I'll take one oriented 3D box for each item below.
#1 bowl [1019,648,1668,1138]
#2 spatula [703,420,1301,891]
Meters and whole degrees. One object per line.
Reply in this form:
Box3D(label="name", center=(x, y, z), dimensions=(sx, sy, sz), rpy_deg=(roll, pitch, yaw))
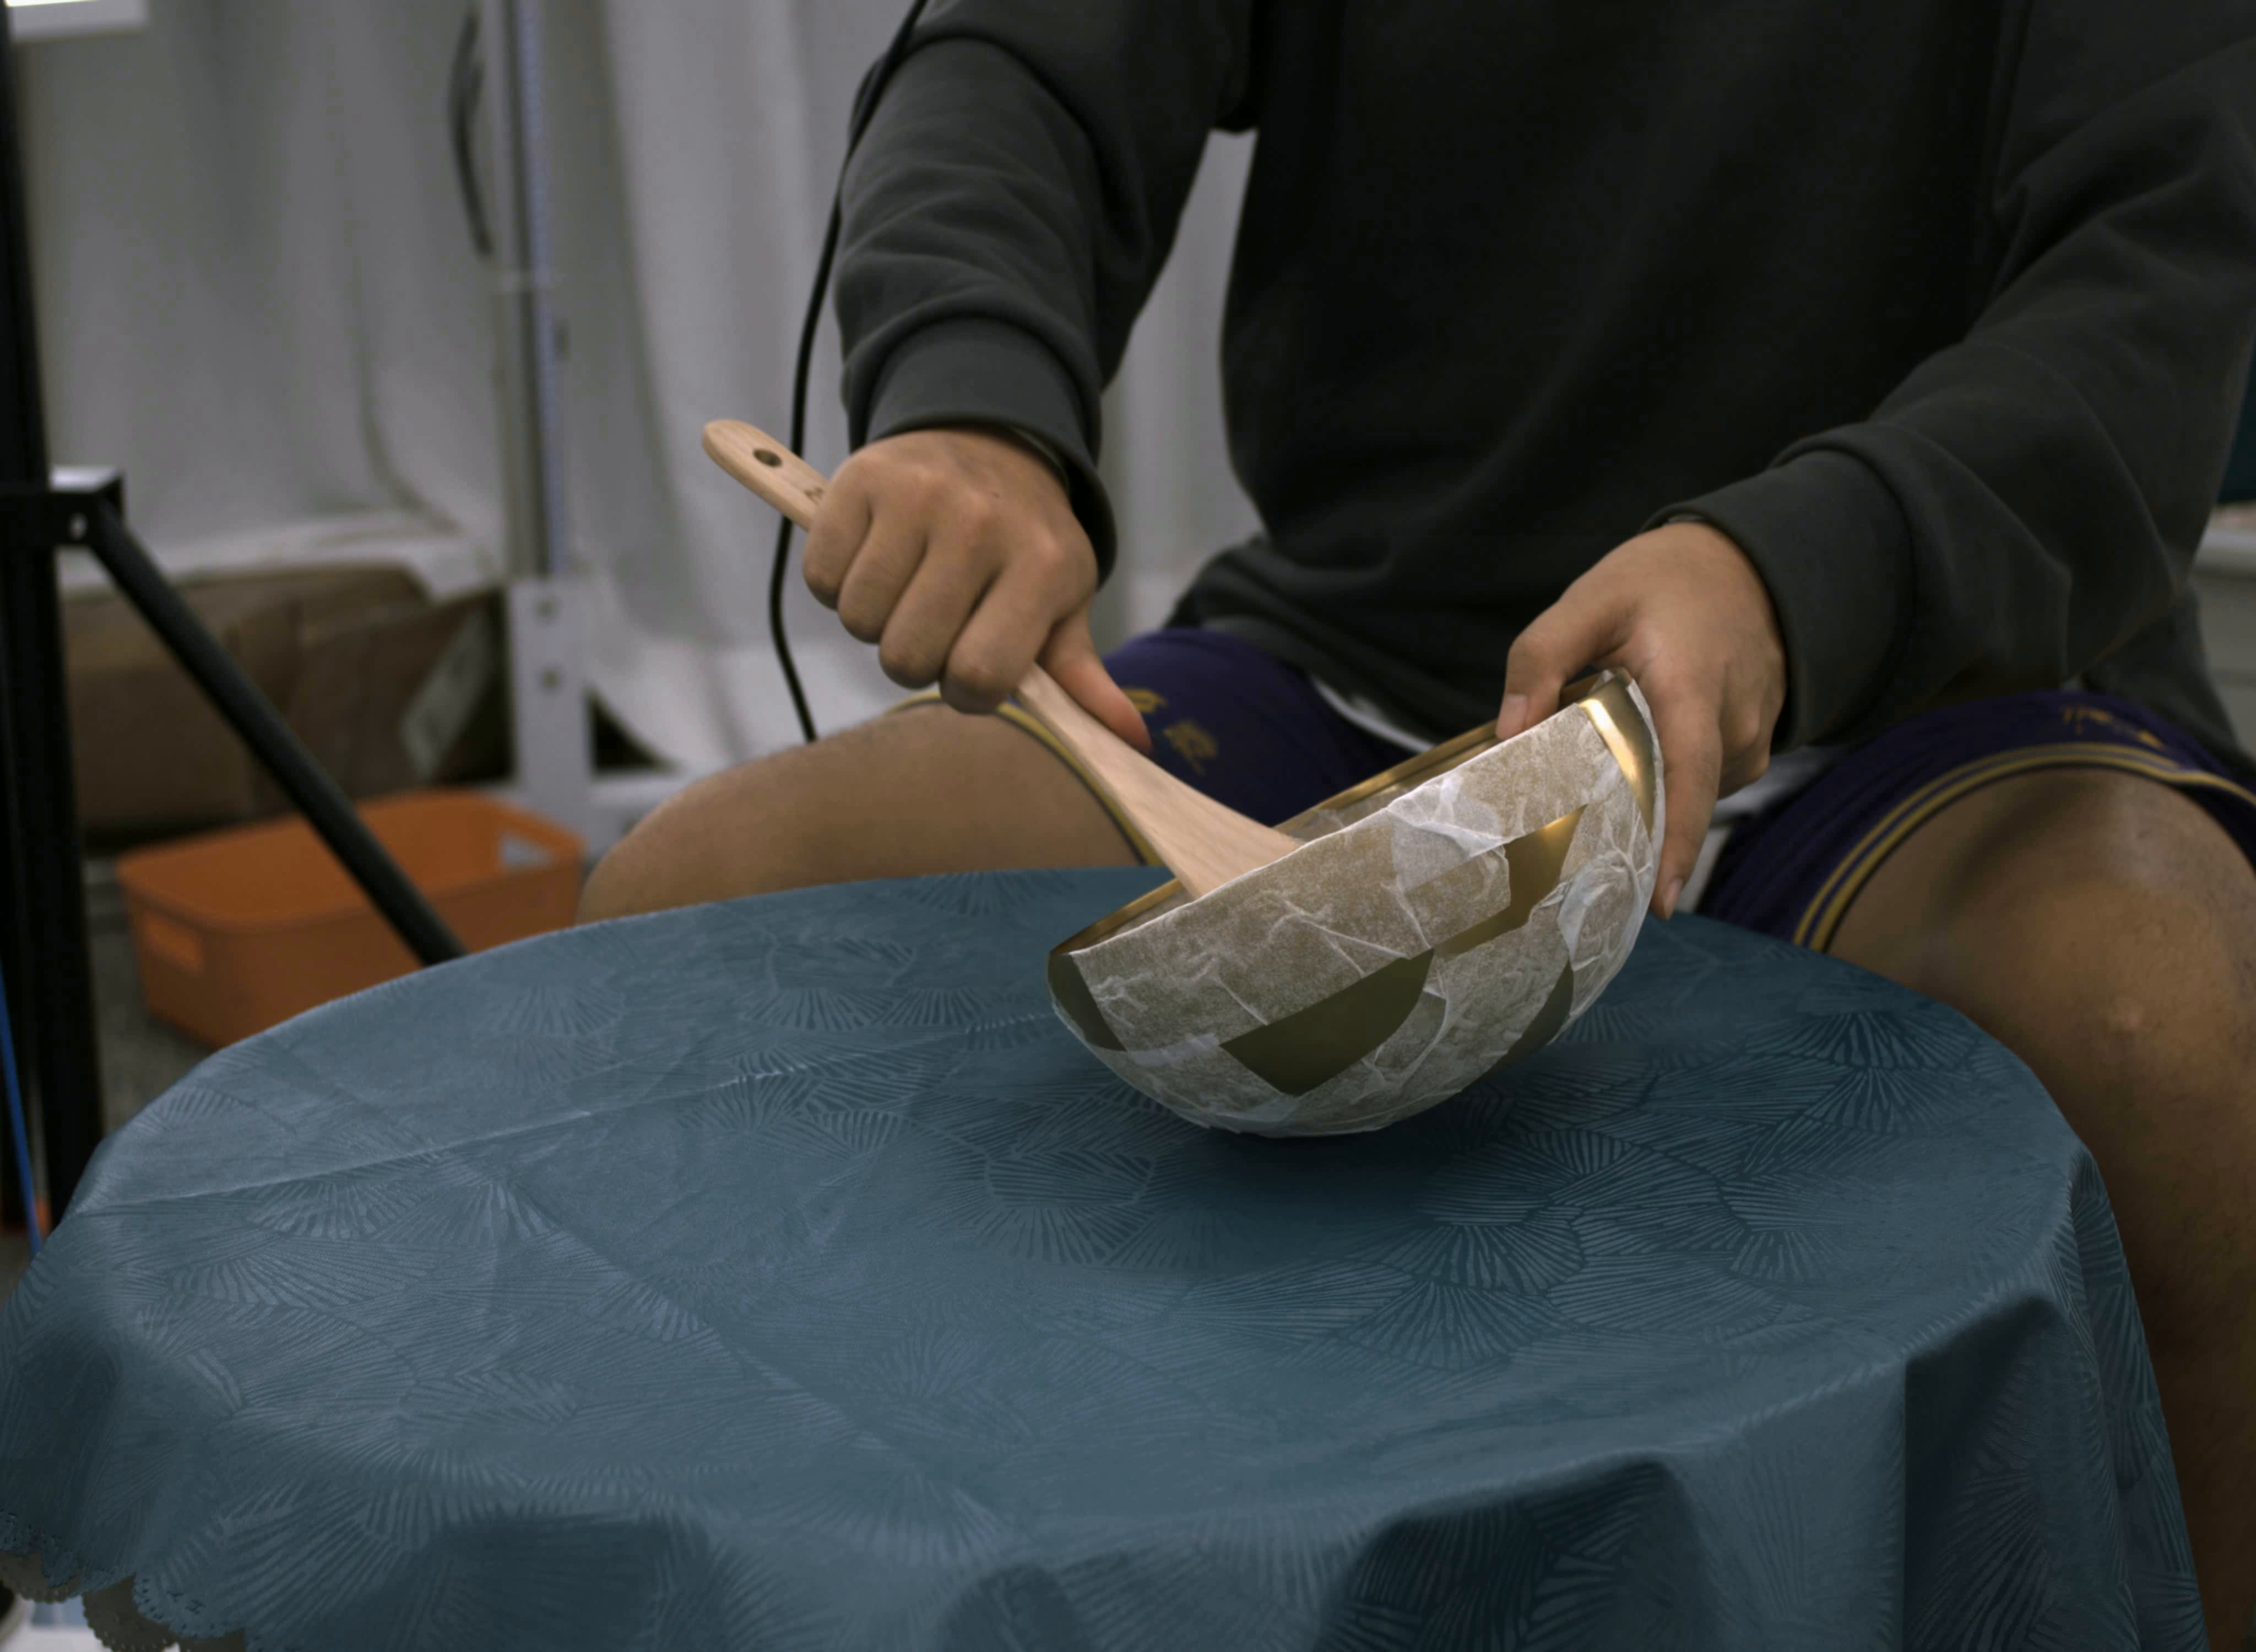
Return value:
Box3D(label="bowl", center=(0.082, 0.034, 1.592), dimensions=(0.214, 0.095, 0.215), rpy_deg=(-27, 2, -1))
Box3D(label="spatula", center=(-0.012, -0.033, 1.644), dimensions=(0.333, 0.016, 0.078), rpy_deg=(40, 35, 22))
